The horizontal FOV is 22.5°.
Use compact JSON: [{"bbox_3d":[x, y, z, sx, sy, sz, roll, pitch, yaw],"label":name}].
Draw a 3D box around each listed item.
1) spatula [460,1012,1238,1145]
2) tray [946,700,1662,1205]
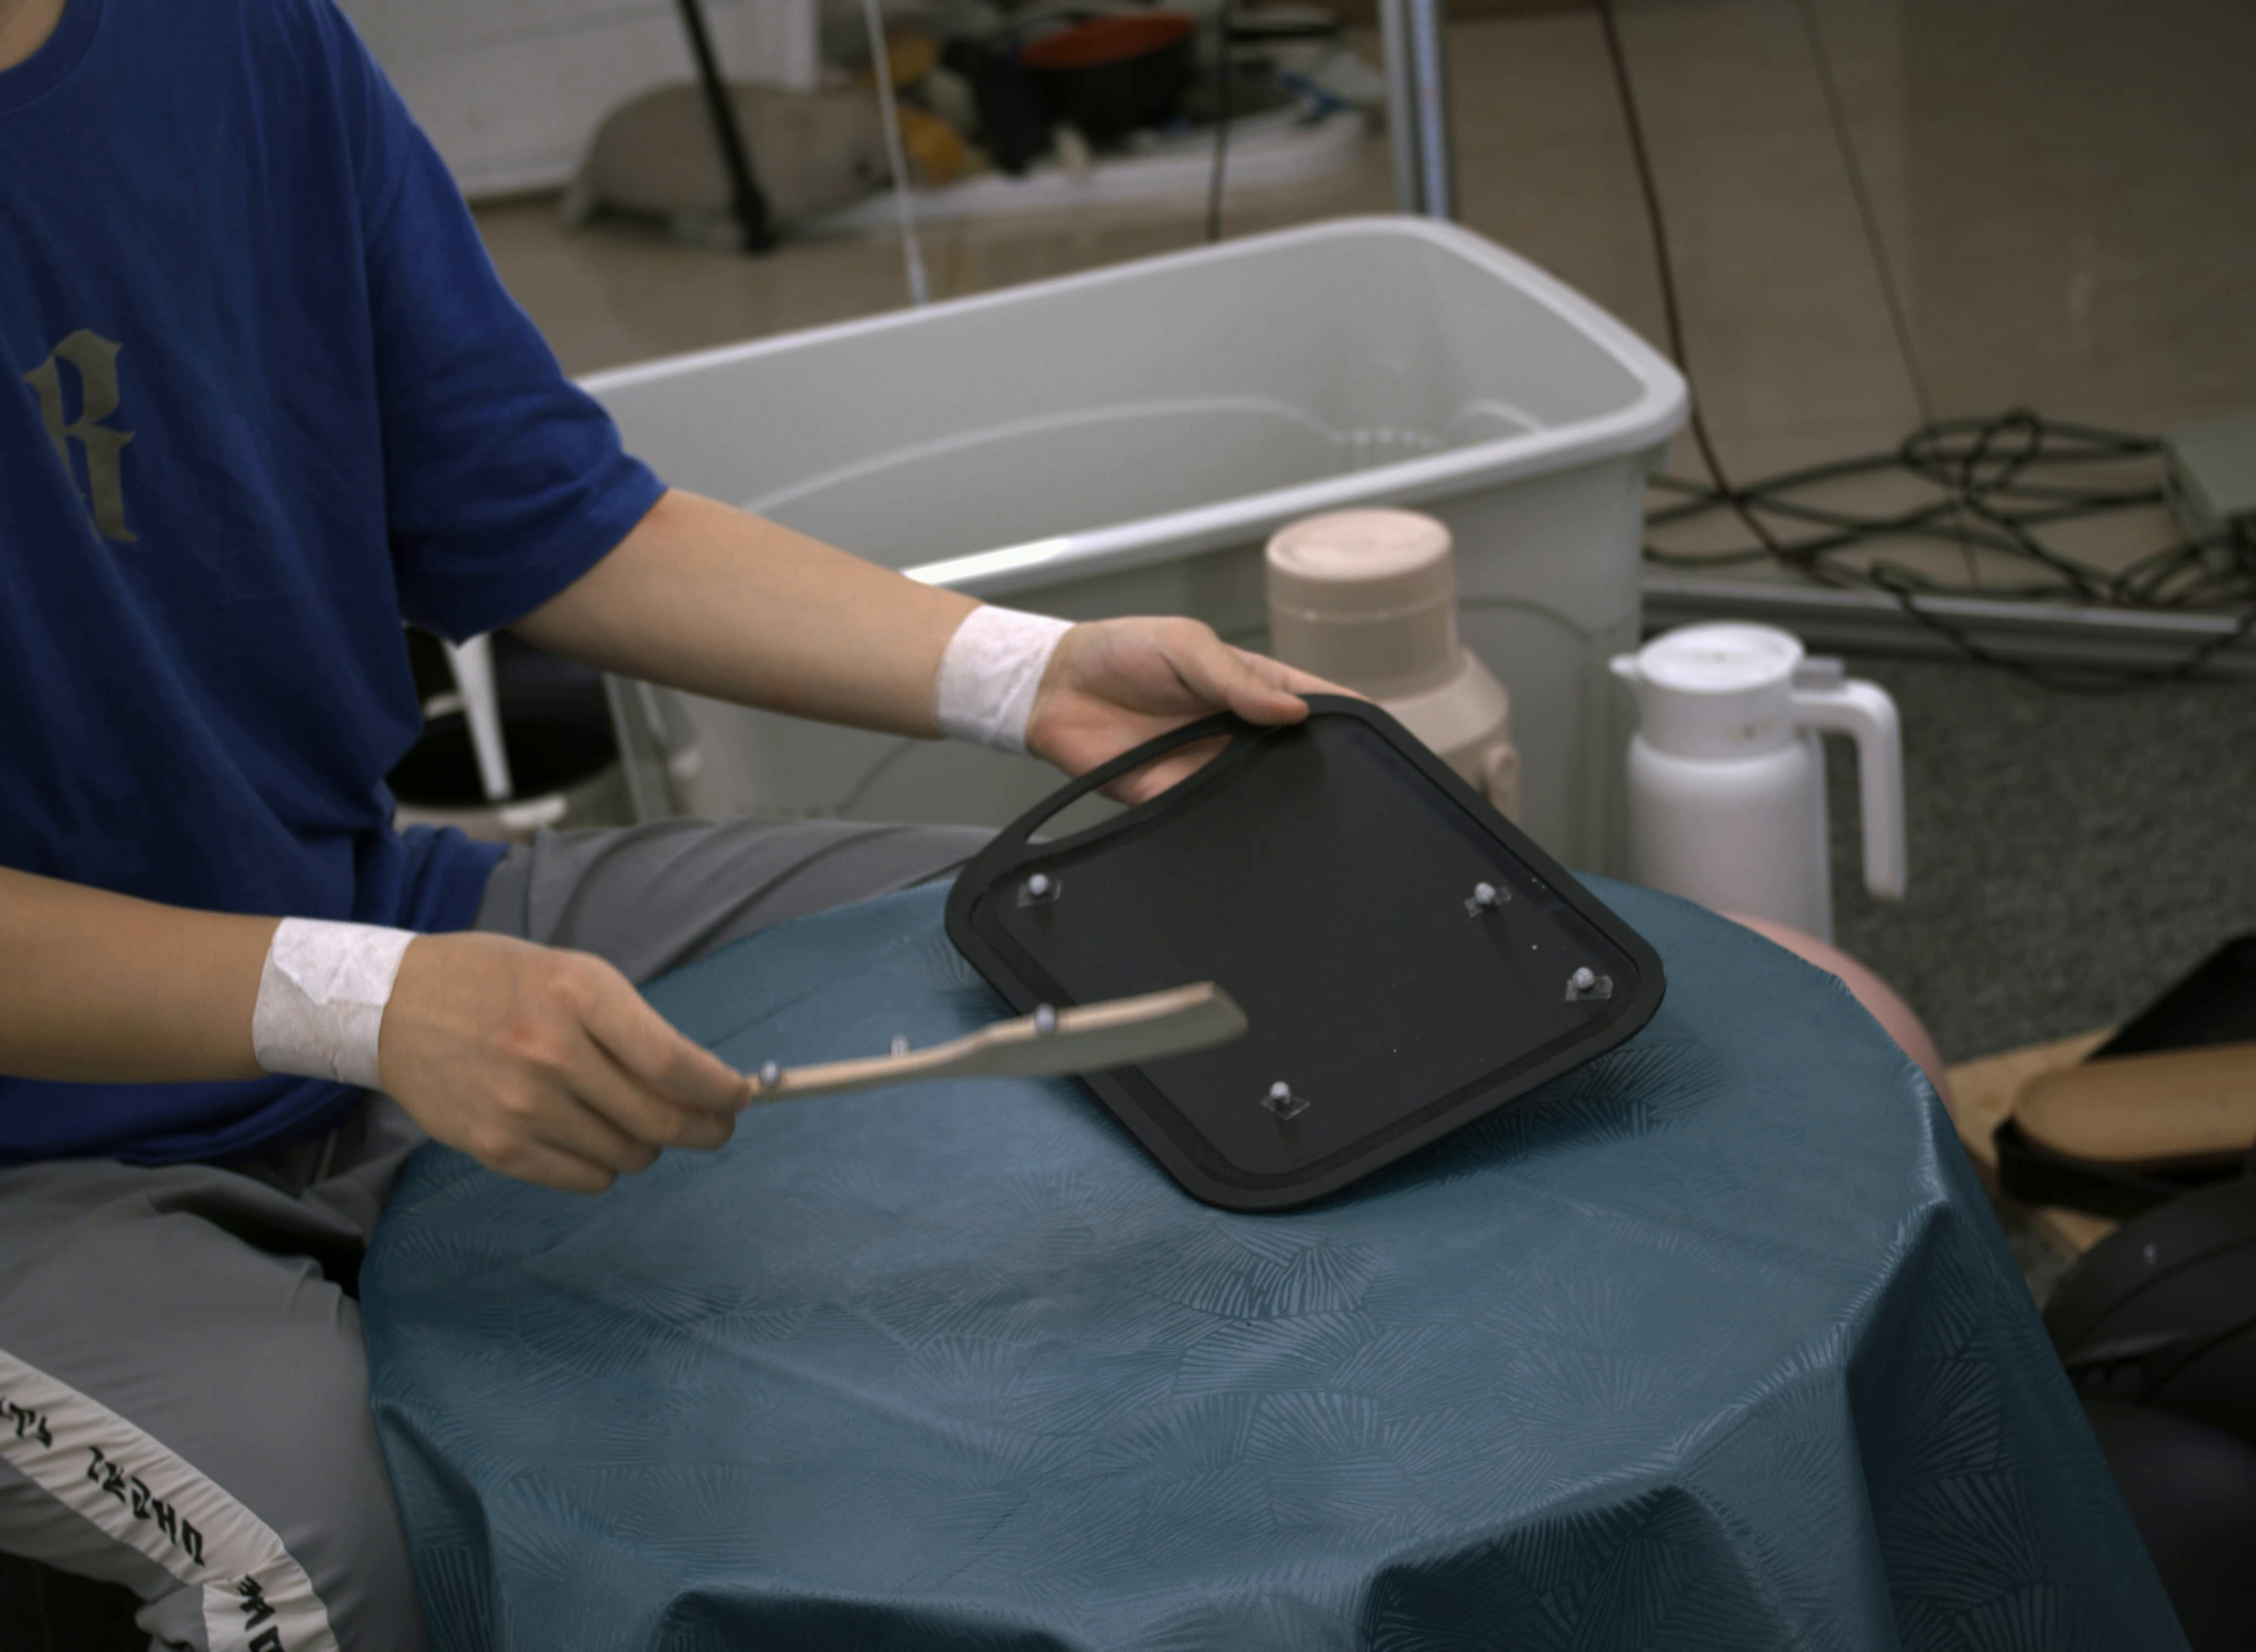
[{"bbox_3d":[-0.107,0.096,2.090,0.293,0.010,0.073,-8,-13,11],"label":"spatula"},{"bbox_3d":[0.060,0.041,2.259,0.210,0.010,0.321,-26,35,-13],"label":"tray"}]
